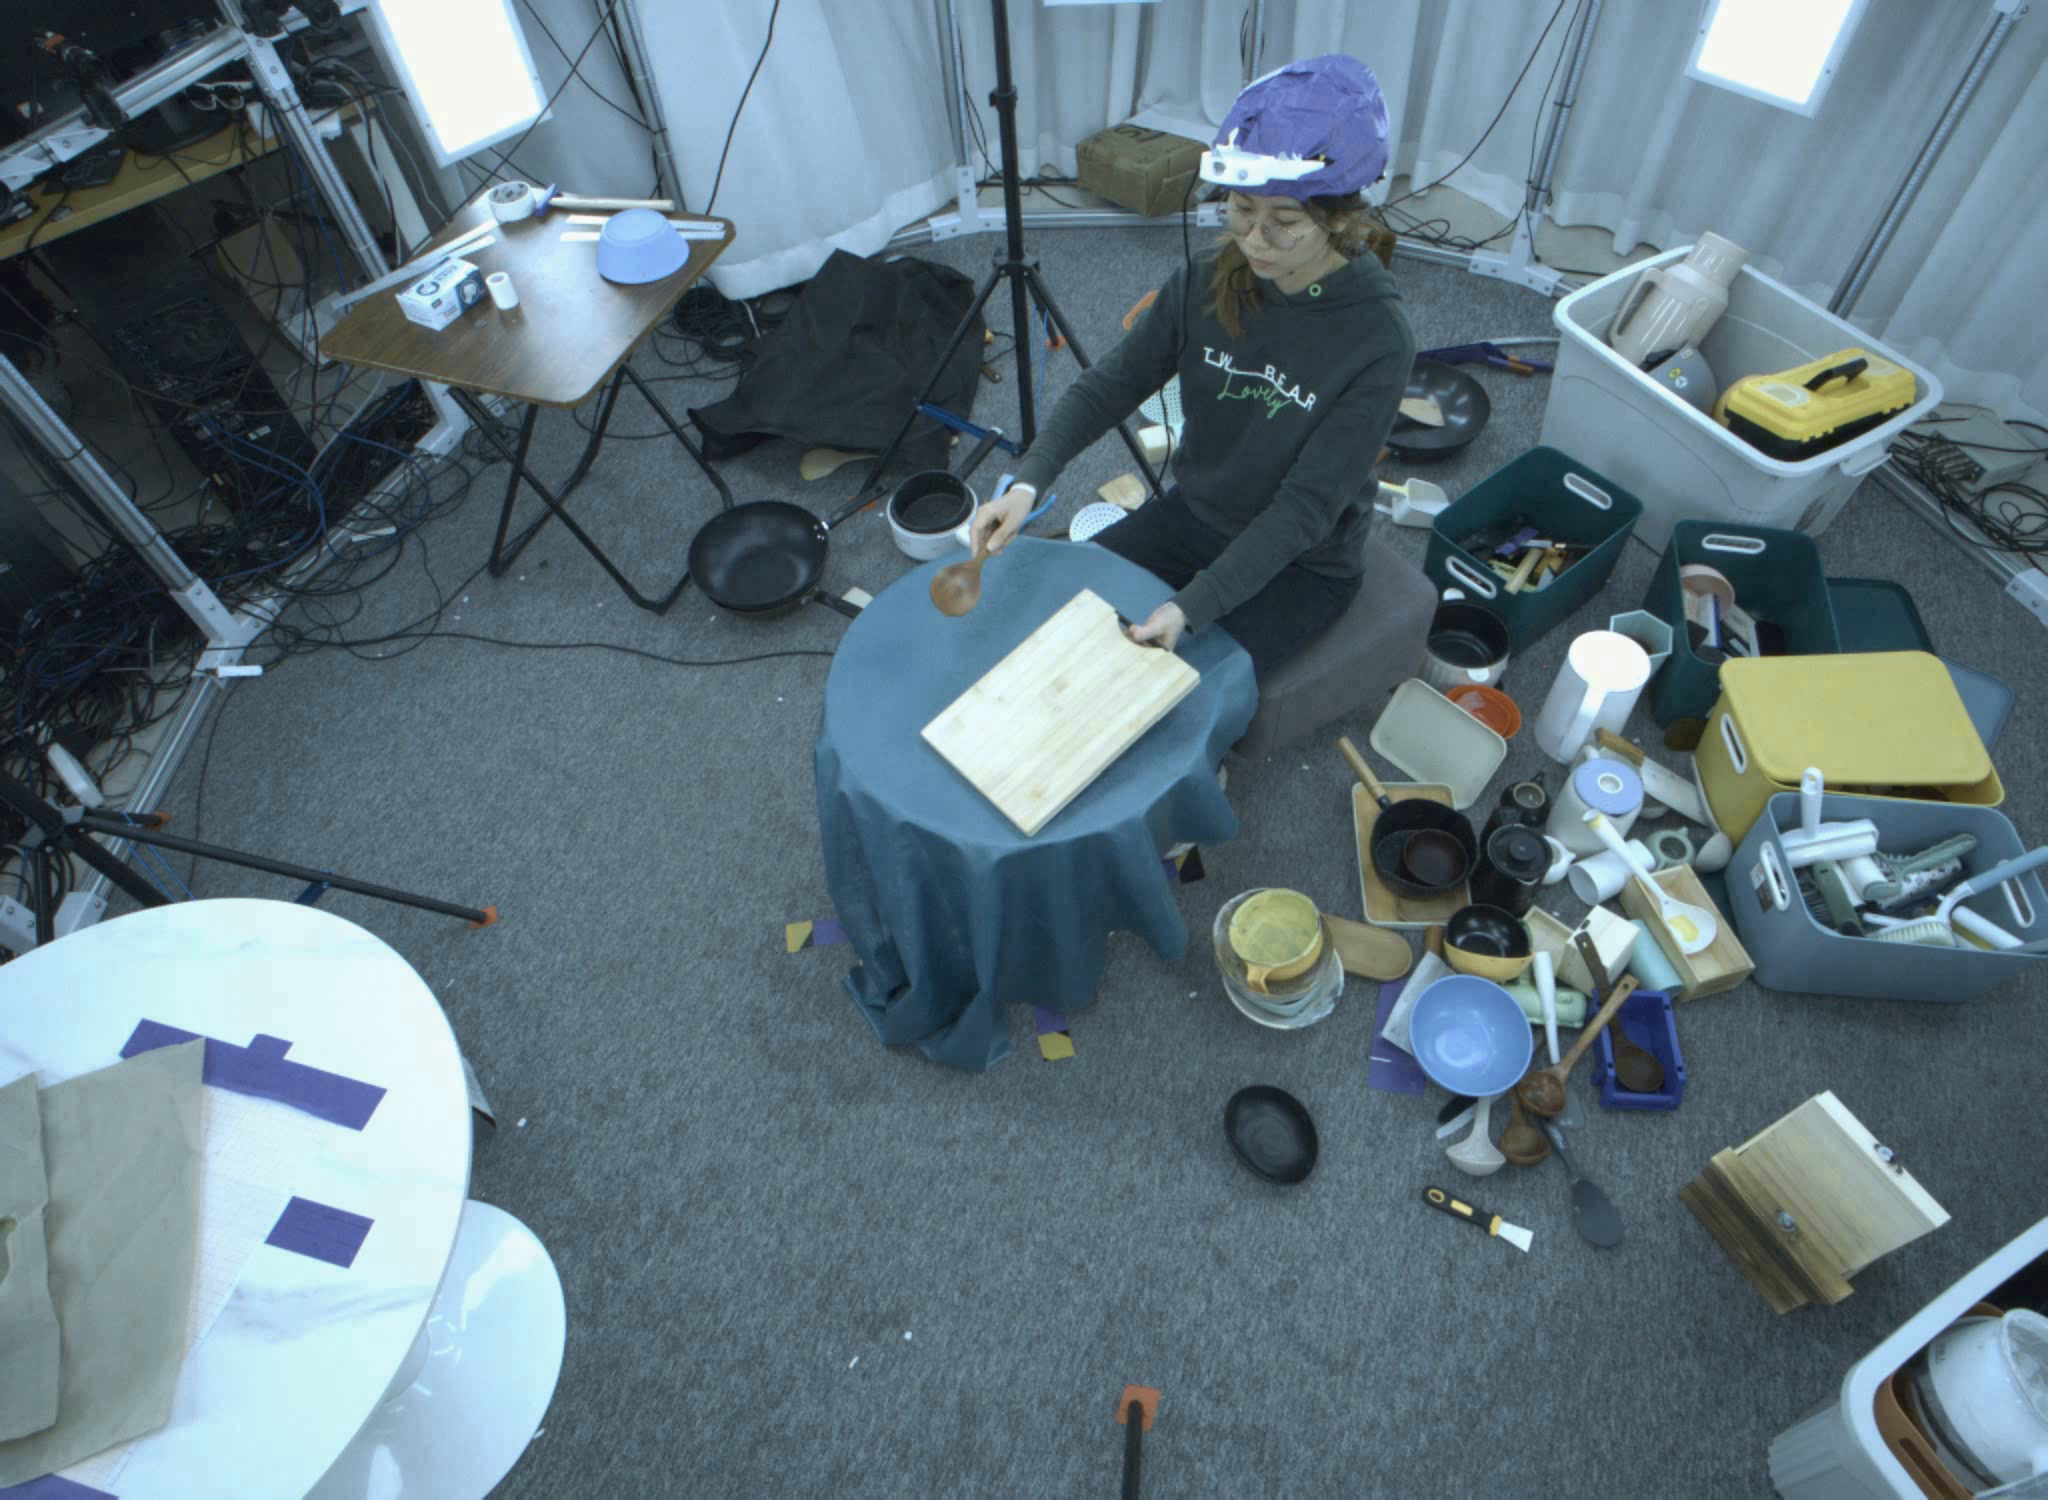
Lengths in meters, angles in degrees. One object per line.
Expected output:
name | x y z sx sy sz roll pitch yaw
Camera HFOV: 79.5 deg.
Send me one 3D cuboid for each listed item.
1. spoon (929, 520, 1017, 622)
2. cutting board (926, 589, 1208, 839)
spoon | -0.069 -0.269 1.814 0.076 0.017 0.216 38 60 -7
cutting board | 0.058 -0.061 1.790 0.350 0.024 0.246 -43 64 -13
